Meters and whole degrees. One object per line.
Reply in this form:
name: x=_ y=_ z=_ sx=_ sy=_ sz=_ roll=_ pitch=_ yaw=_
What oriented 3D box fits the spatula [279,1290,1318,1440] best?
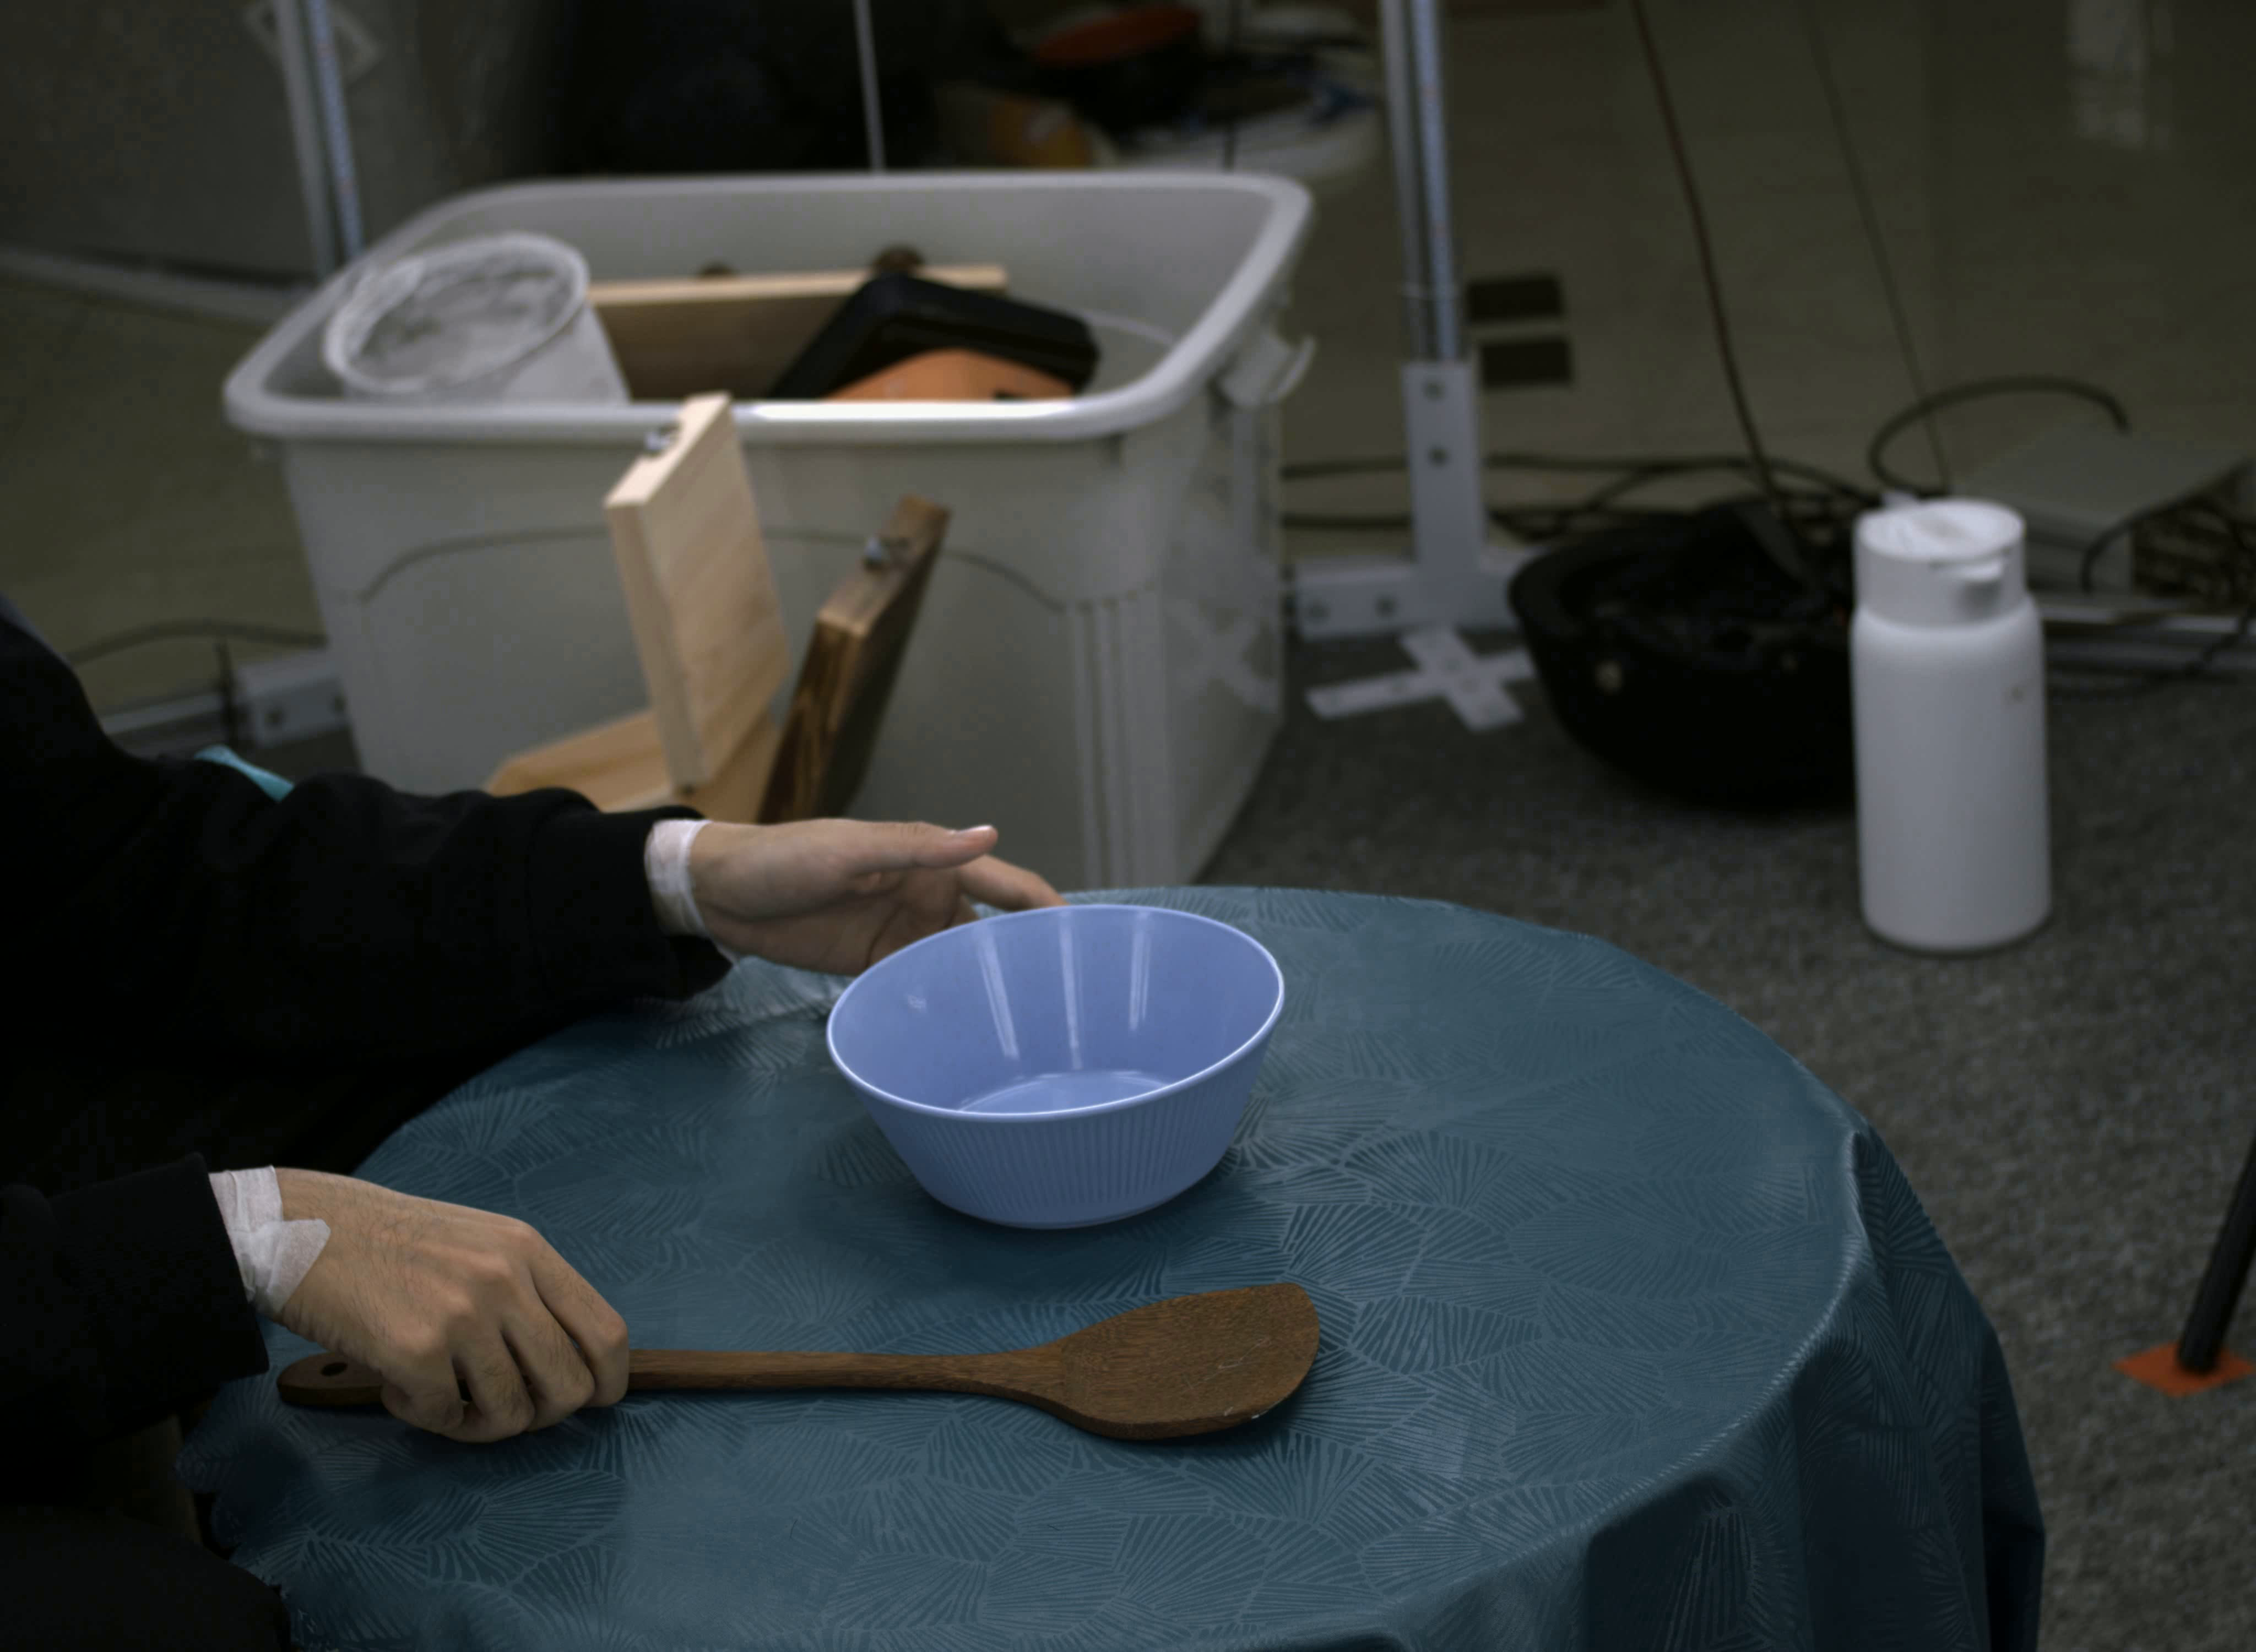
spatula: x=-0.122 y=0.196 z=2.044 sx=0.385 sy=0.016 sz=0.095 roll=-2 pitch=25 yaw=11

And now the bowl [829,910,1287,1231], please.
bowl: x=-0.023 y=0.099 z=2.162 sx=0.176 sy=0.071 sz=0.173 roll=-6 pitch=24 yaw=3
